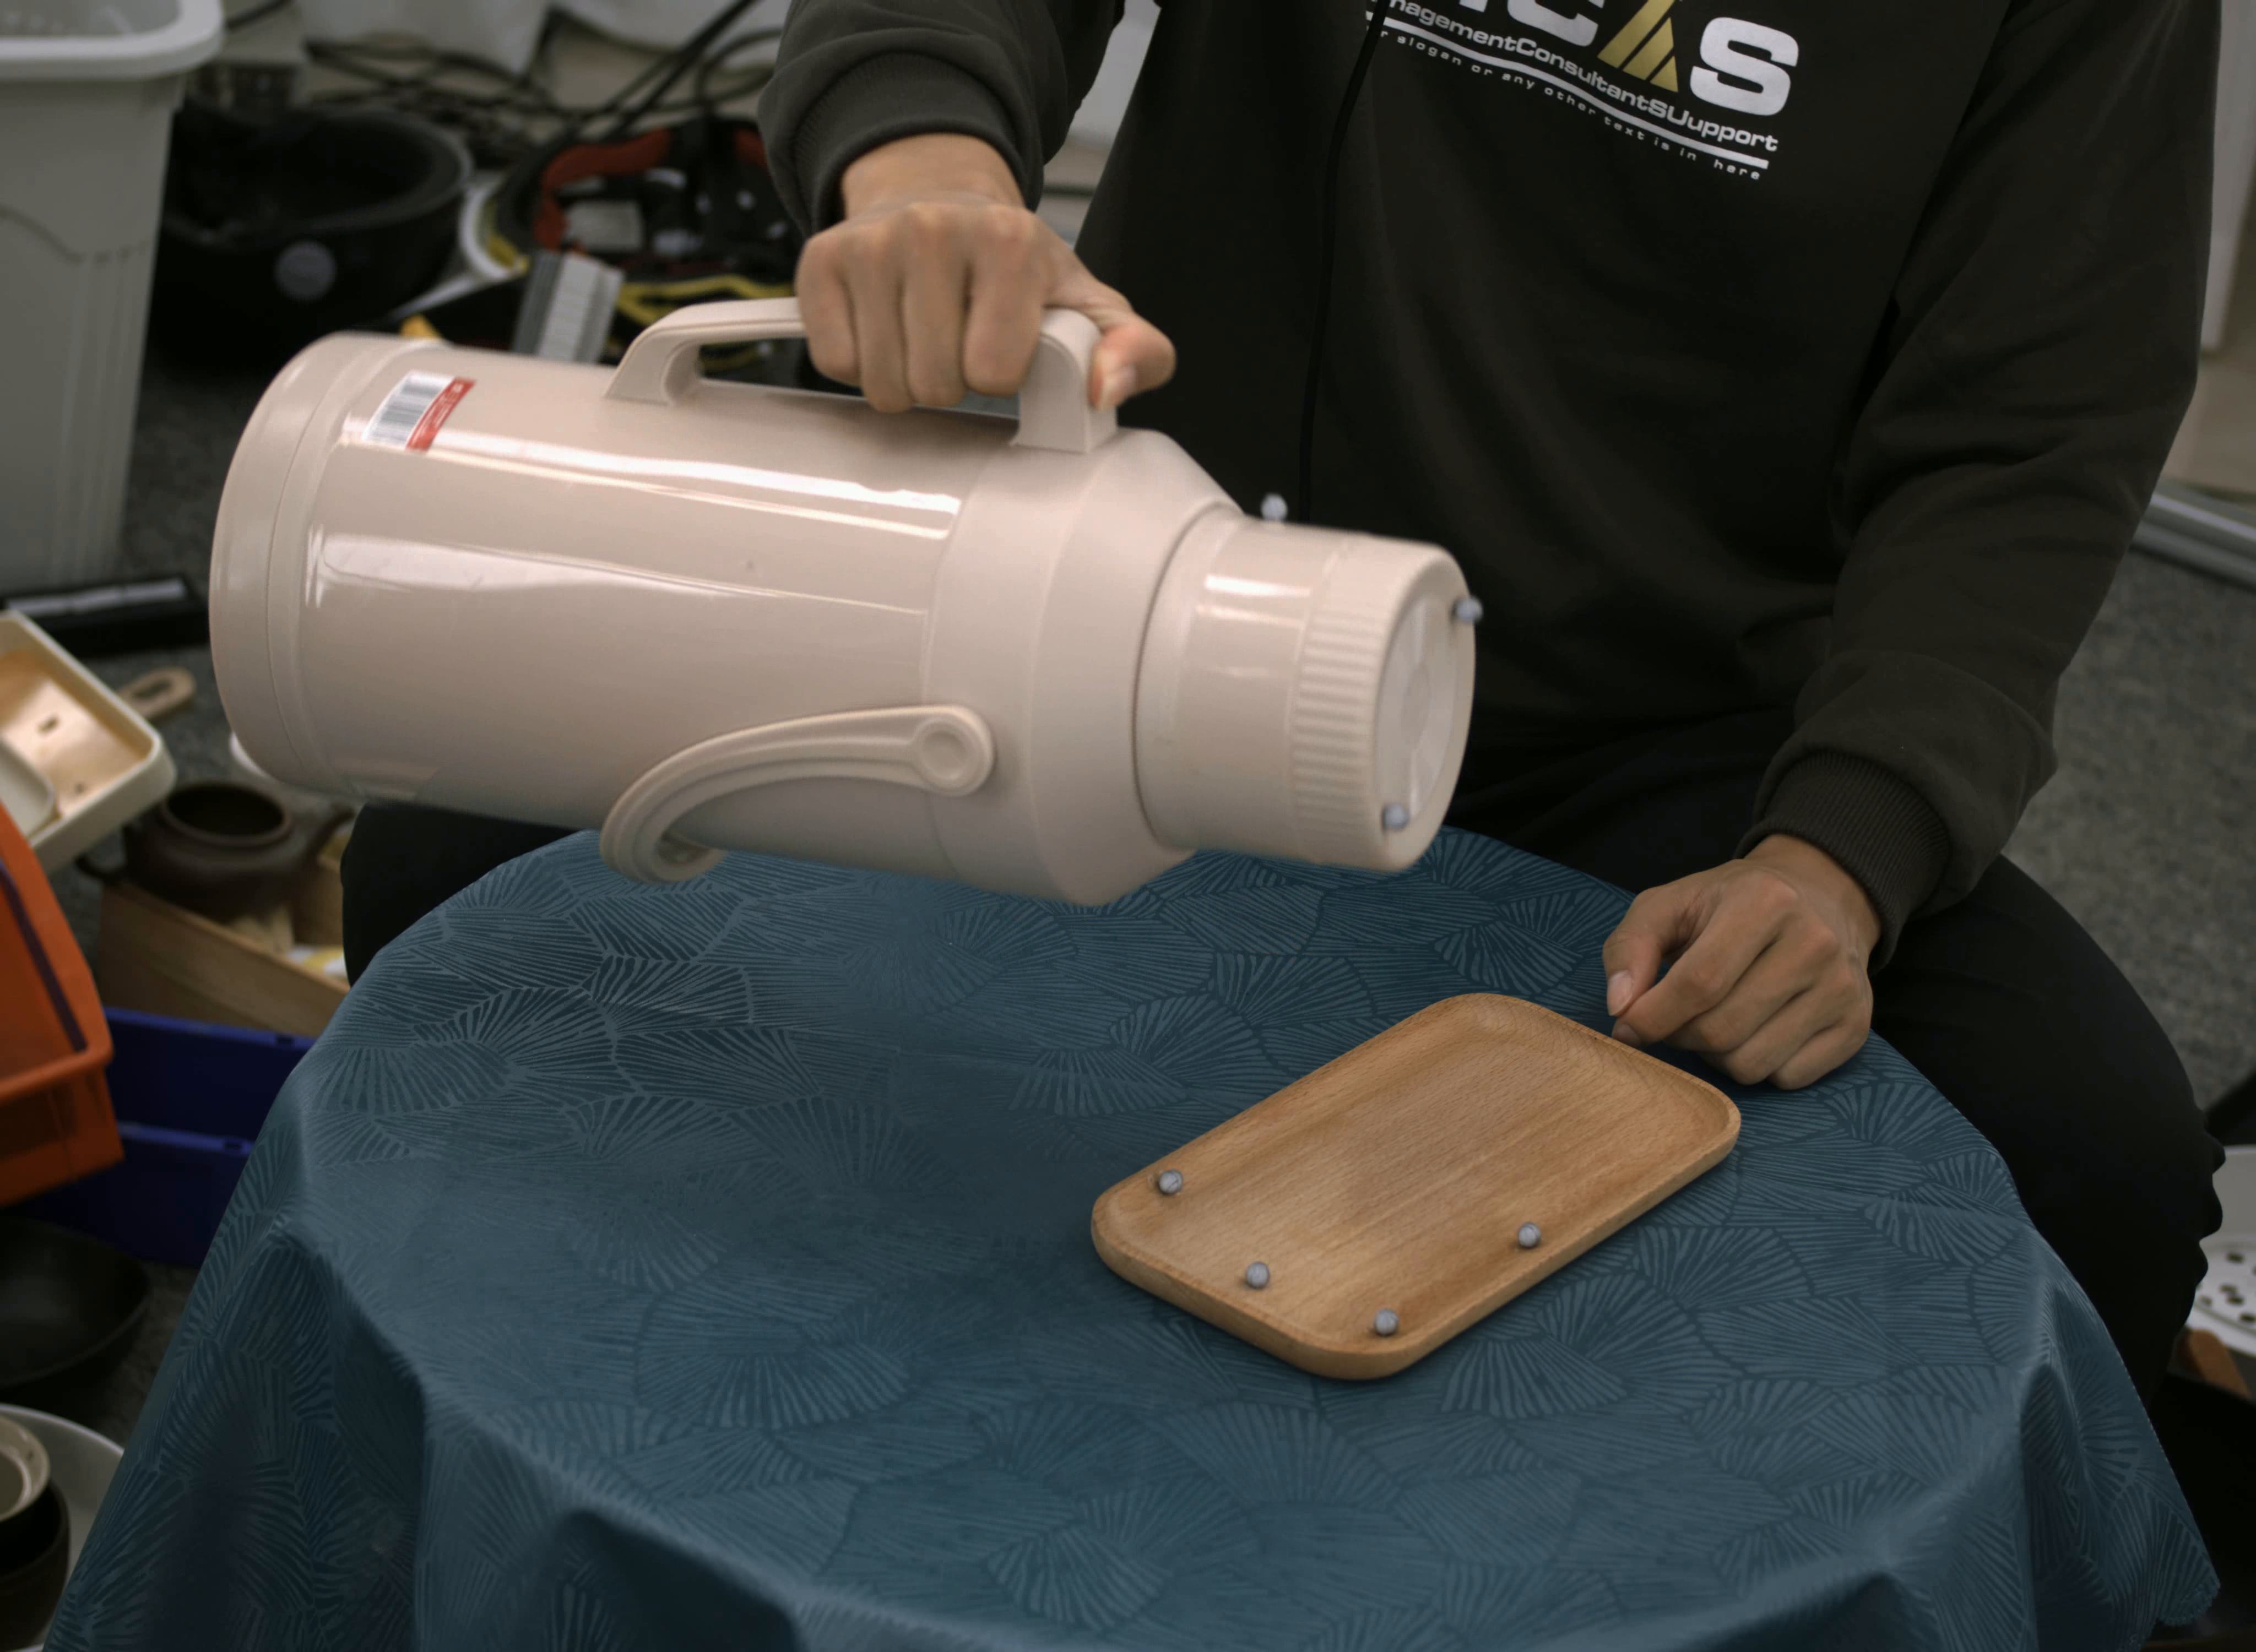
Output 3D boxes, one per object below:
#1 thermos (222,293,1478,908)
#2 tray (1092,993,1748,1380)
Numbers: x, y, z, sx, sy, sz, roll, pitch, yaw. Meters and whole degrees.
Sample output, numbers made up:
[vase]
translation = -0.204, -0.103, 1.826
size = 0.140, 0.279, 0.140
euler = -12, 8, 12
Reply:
[thermos]
translation = -0.090, -0.079, 1.759
size = 0.407, 0.206, 0.175
euler = 10, 25, 22
[tray]
translation = 0.102, 0.121, 1.819
size = 0.131, 0.023, 0.250
euler = 27, 32, 30
